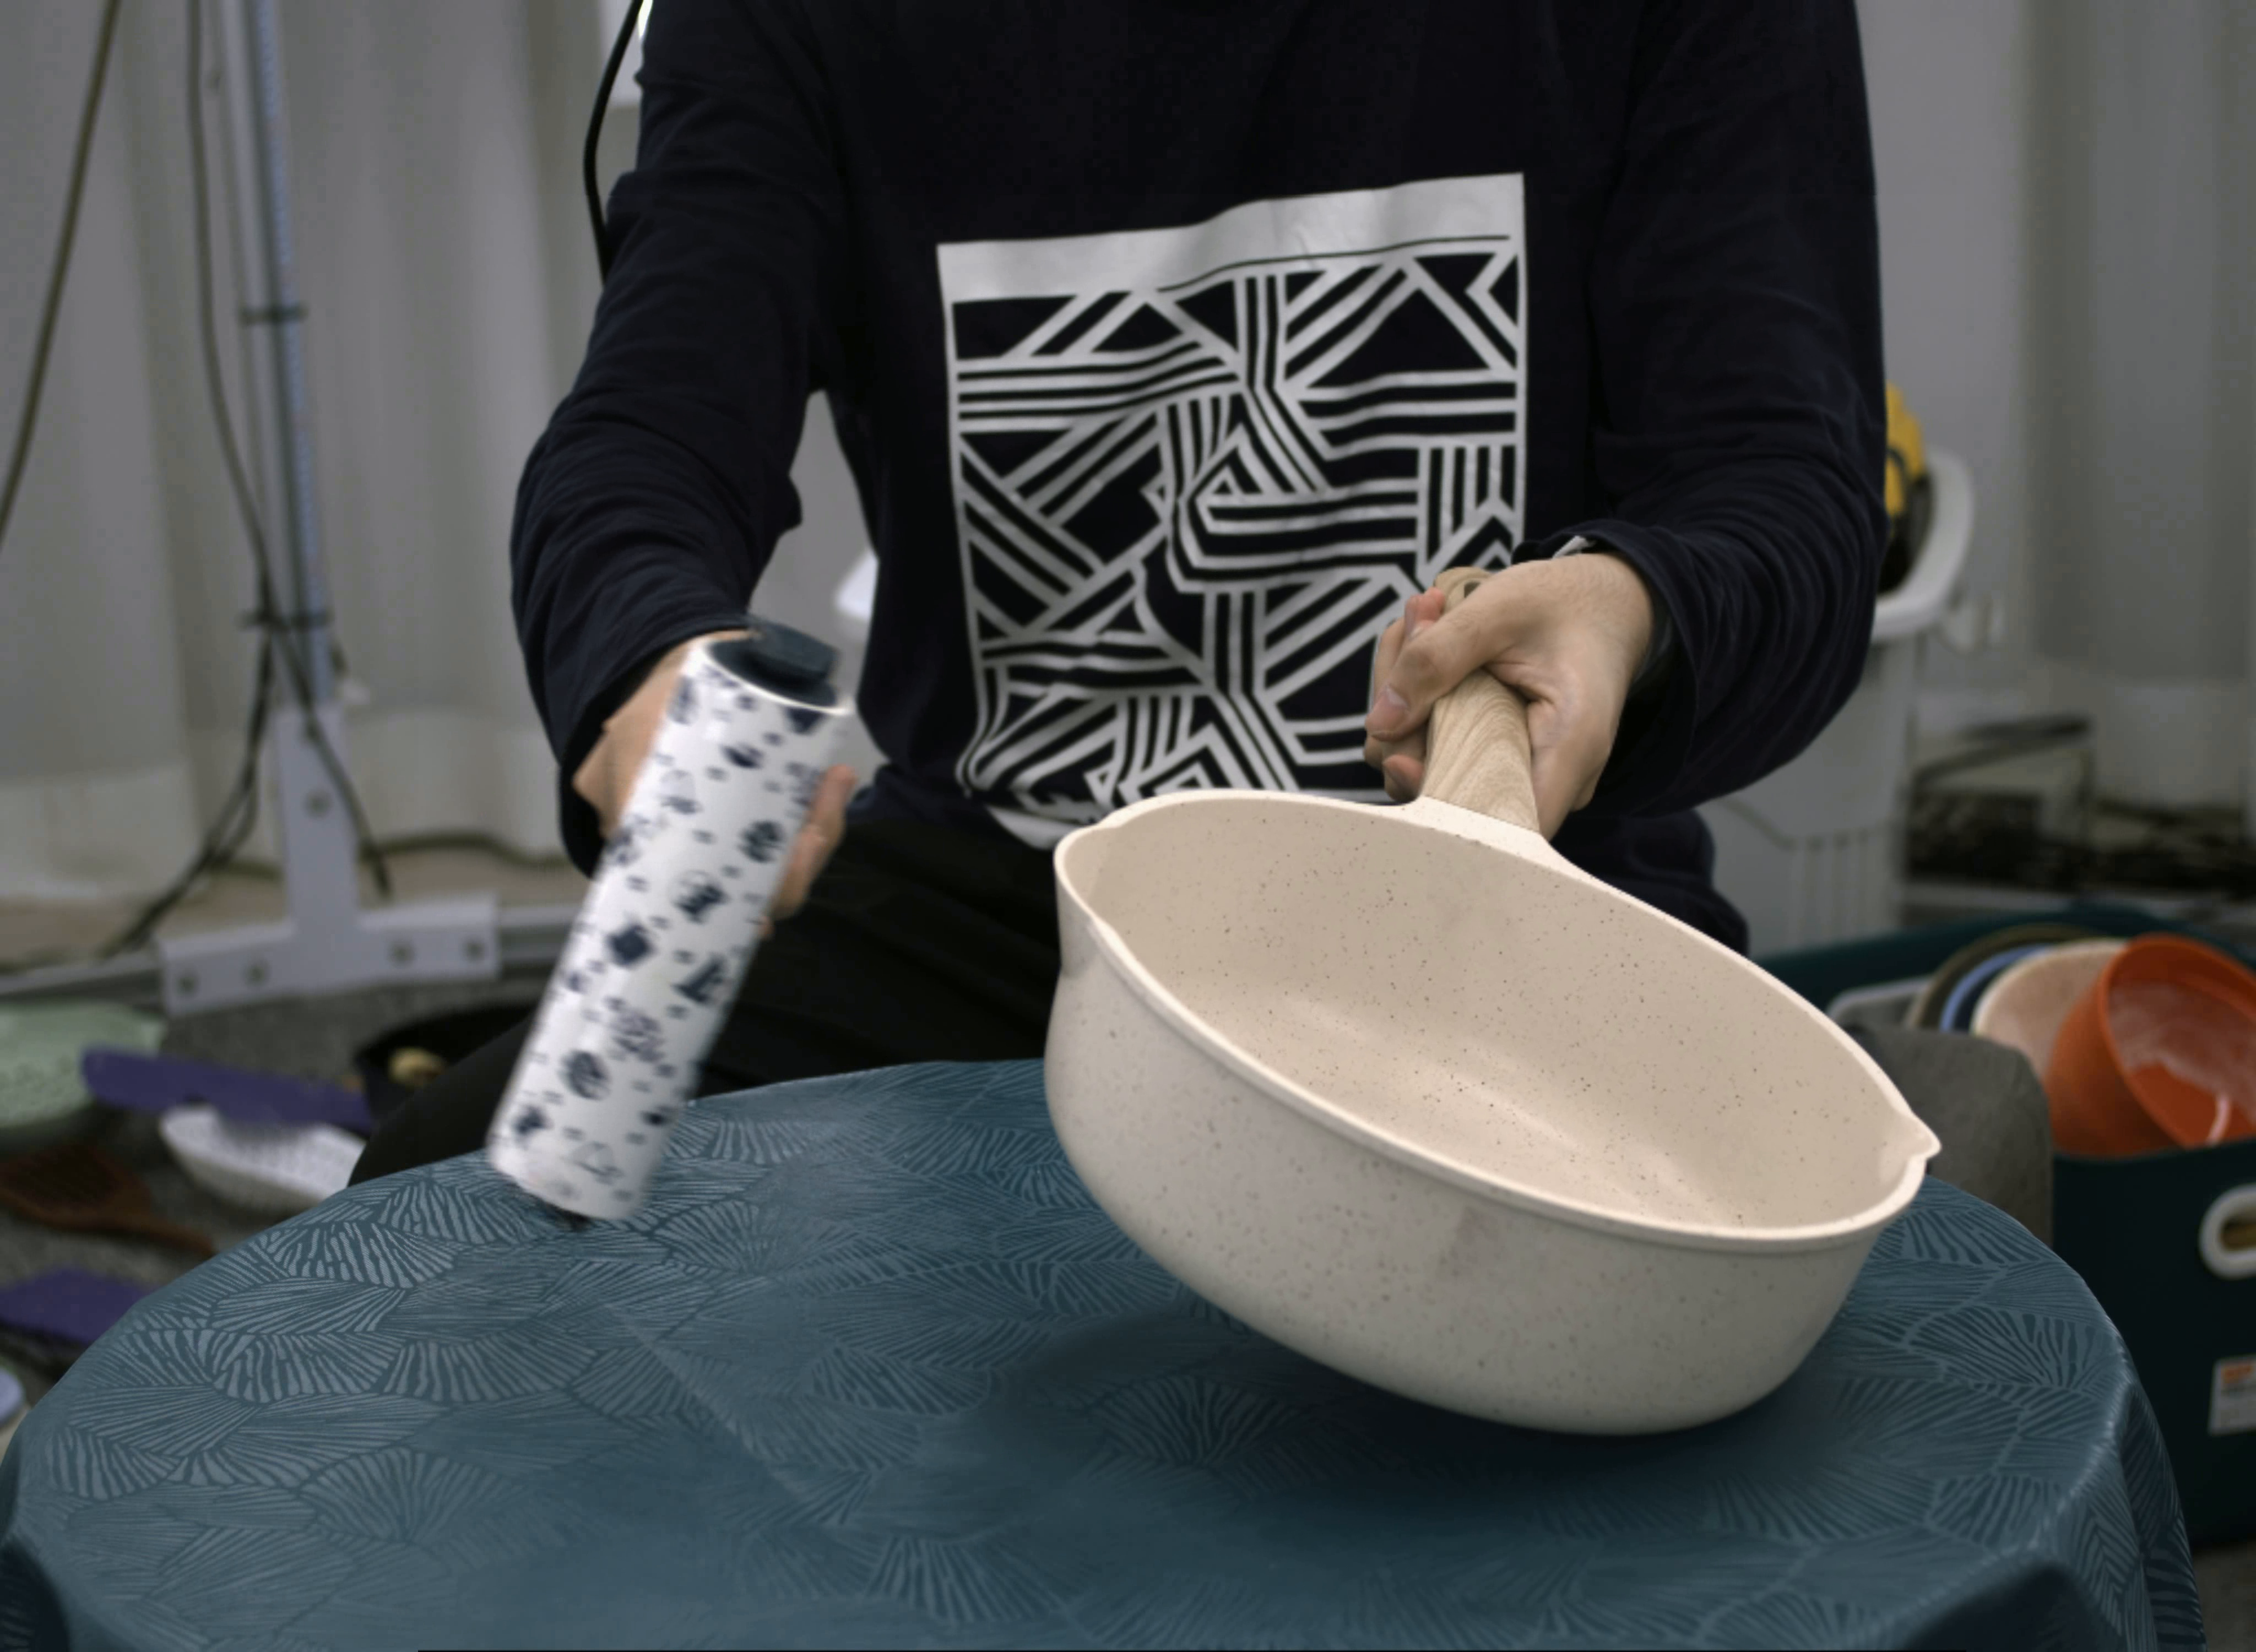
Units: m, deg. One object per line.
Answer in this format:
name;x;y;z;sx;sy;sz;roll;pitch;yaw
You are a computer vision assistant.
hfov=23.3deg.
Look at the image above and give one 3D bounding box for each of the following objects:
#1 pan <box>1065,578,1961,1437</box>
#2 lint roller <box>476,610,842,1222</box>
pan;0.099;0.044;1.617;0.262;0.101;0.439;16;20;-6
lint roller;-0.124;0.008;1.620;0.050;0.176;0.248;22;12;0
